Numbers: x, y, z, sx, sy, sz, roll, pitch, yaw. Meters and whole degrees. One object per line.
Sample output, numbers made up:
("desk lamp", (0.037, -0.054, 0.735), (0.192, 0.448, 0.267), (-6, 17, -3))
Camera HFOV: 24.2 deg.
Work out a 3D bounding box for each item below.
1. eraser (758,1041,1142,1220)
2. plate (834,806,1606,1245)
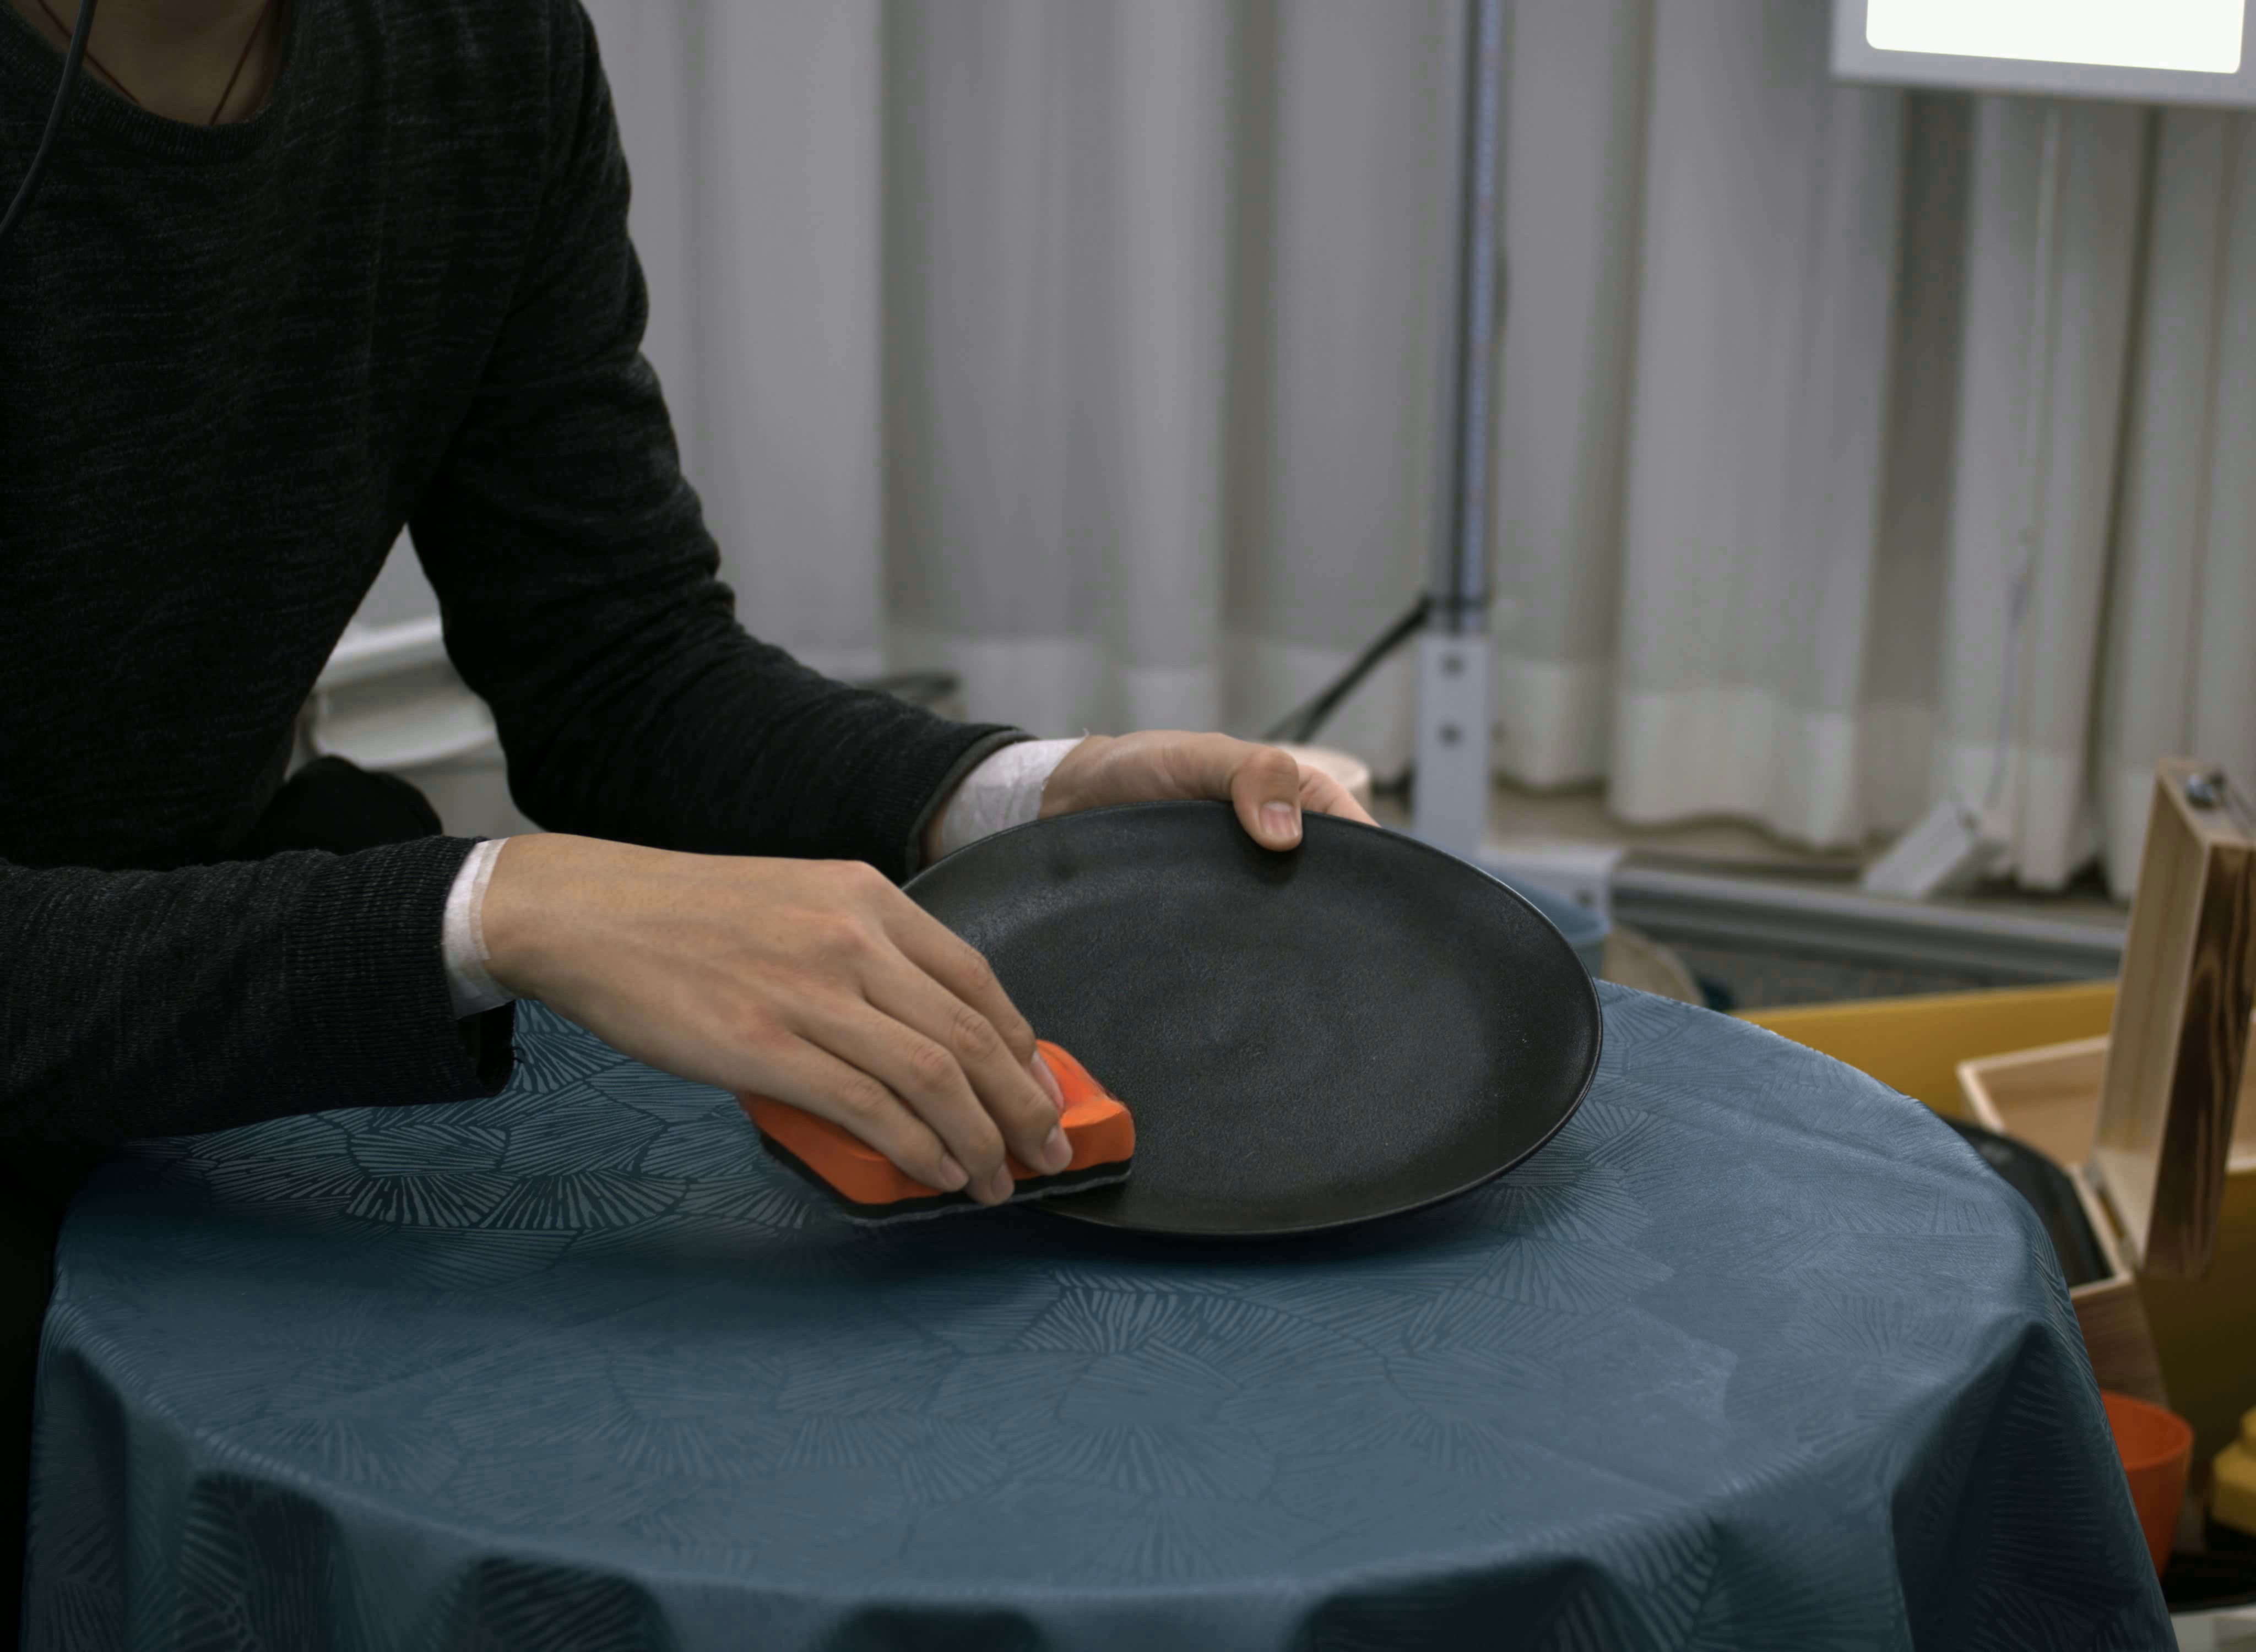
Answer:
("eraser", (-0.053, 0.090, 1.570), (0.108, 0.023, 0.058), (-6, 27, -38))
("plate", (0.029, 0.065, 1.657), (0.243, 0.024, 0.242), (2, 32, -1))
